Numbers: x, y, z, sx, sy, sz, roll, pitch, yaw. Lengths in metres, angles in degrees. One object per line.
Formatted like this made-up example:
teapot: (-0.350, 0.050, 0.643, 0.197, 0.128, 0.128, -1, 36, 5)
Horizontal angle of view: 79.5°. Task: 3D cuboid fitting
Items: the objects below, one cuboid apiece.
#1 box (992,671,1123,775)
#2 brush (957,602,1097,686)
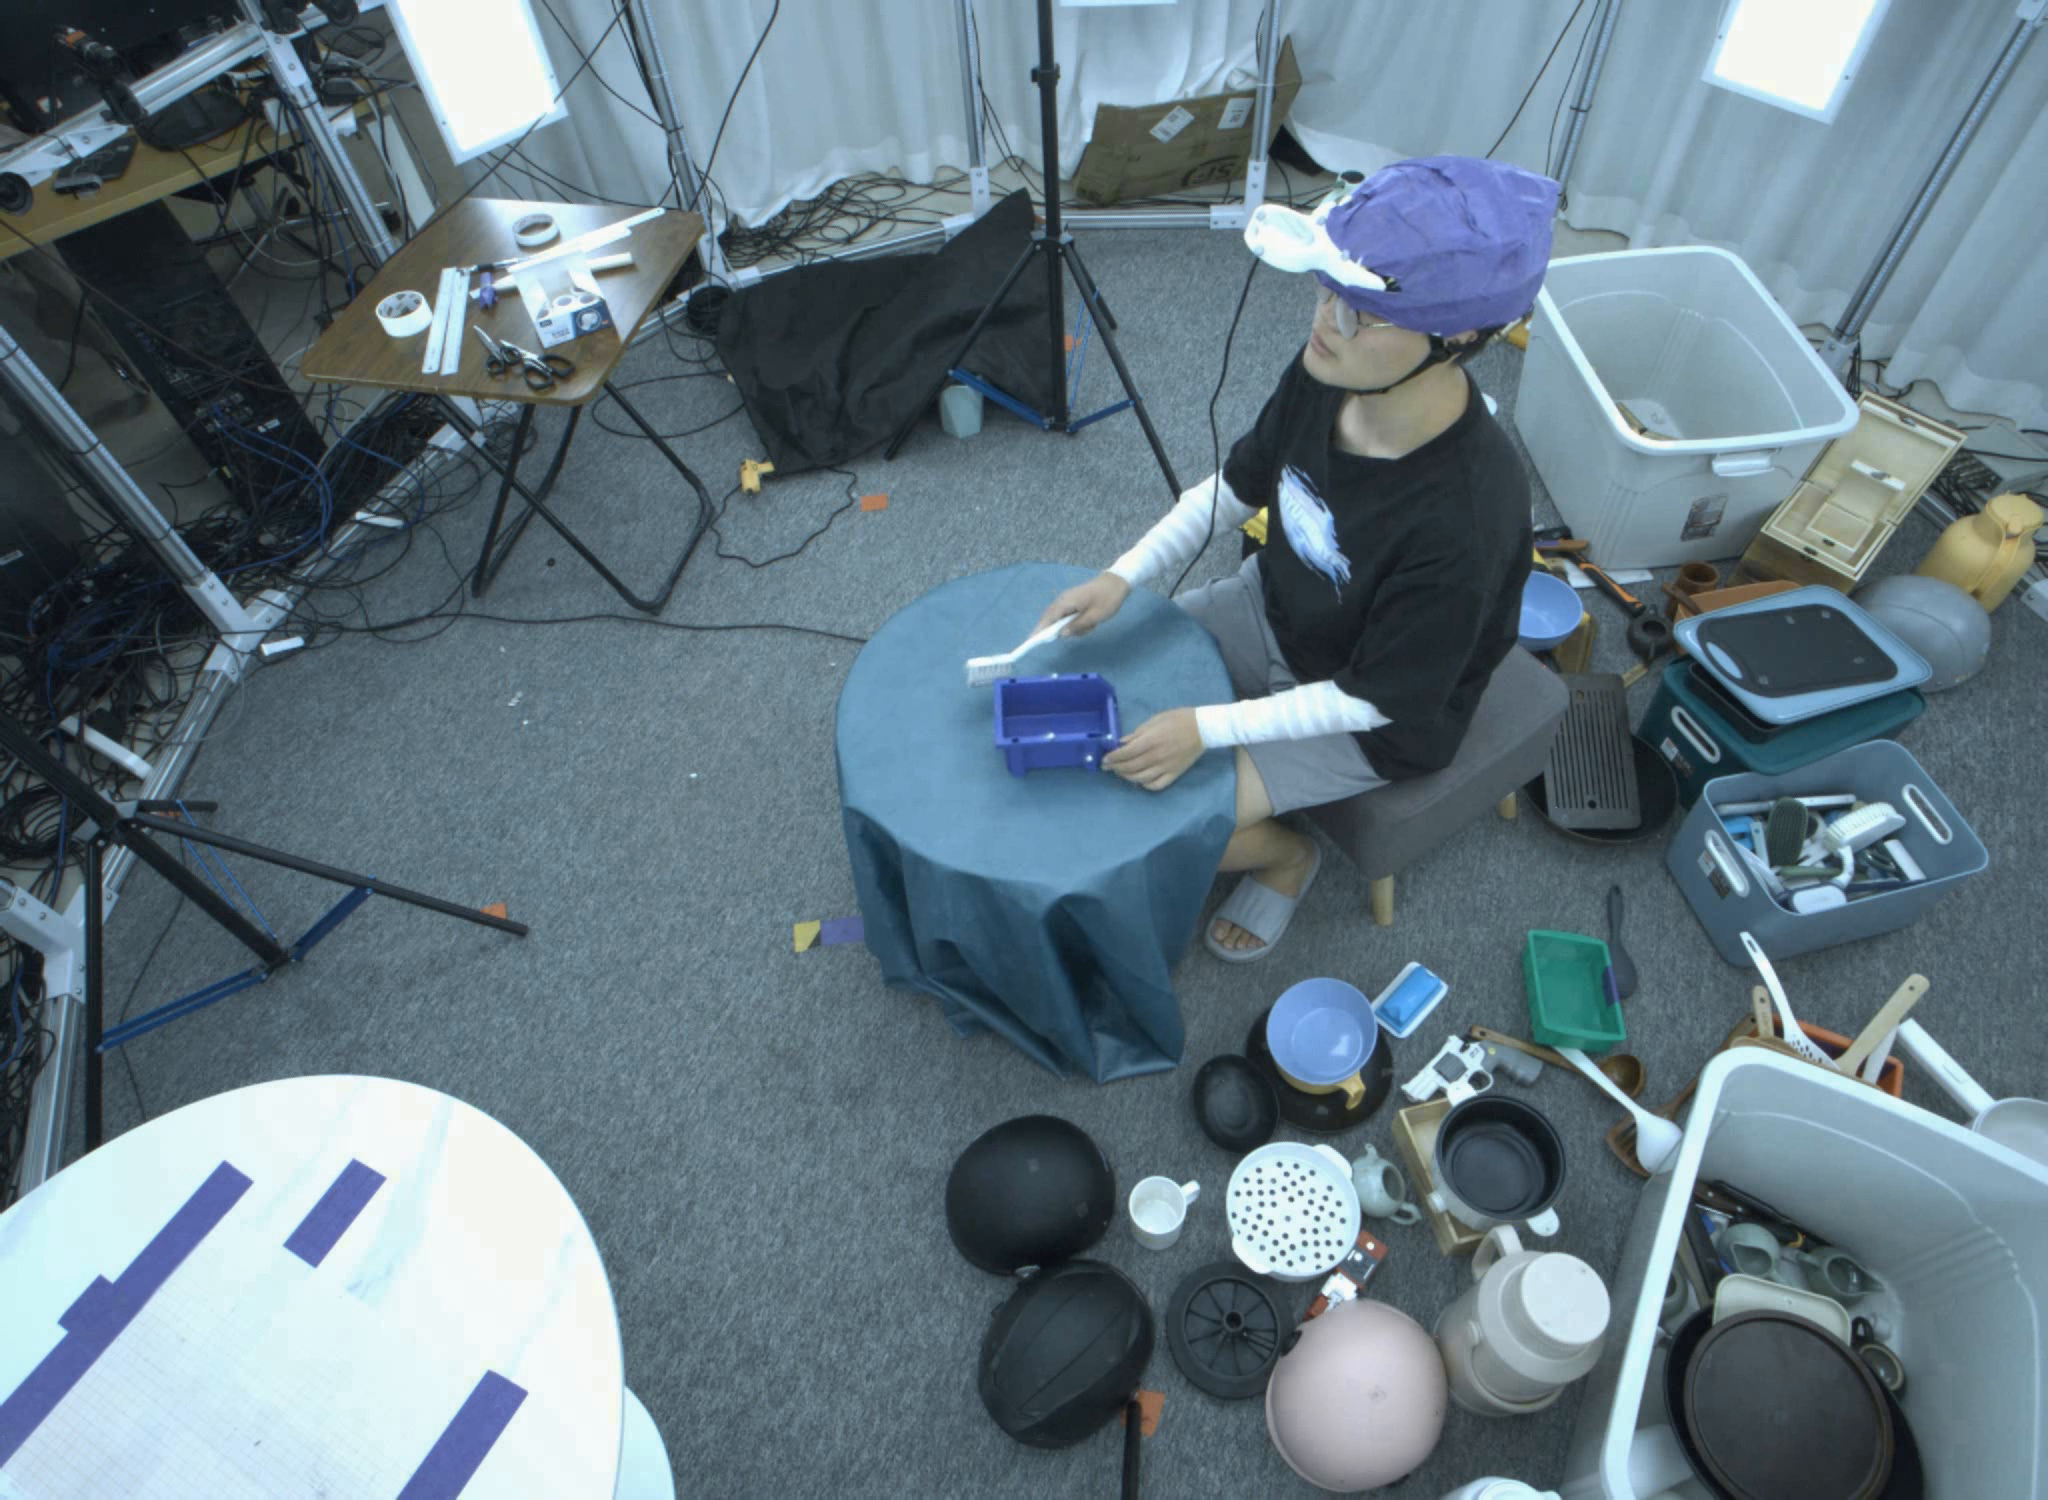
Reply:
box: (0.047, -0.042, 1.756, 0.179, 0.083, 0.123, -4, 54, 1)
brush: (0.010, -0.154, 1.819, 0.245, 0.034, 0.050, -25, 75, -15)
